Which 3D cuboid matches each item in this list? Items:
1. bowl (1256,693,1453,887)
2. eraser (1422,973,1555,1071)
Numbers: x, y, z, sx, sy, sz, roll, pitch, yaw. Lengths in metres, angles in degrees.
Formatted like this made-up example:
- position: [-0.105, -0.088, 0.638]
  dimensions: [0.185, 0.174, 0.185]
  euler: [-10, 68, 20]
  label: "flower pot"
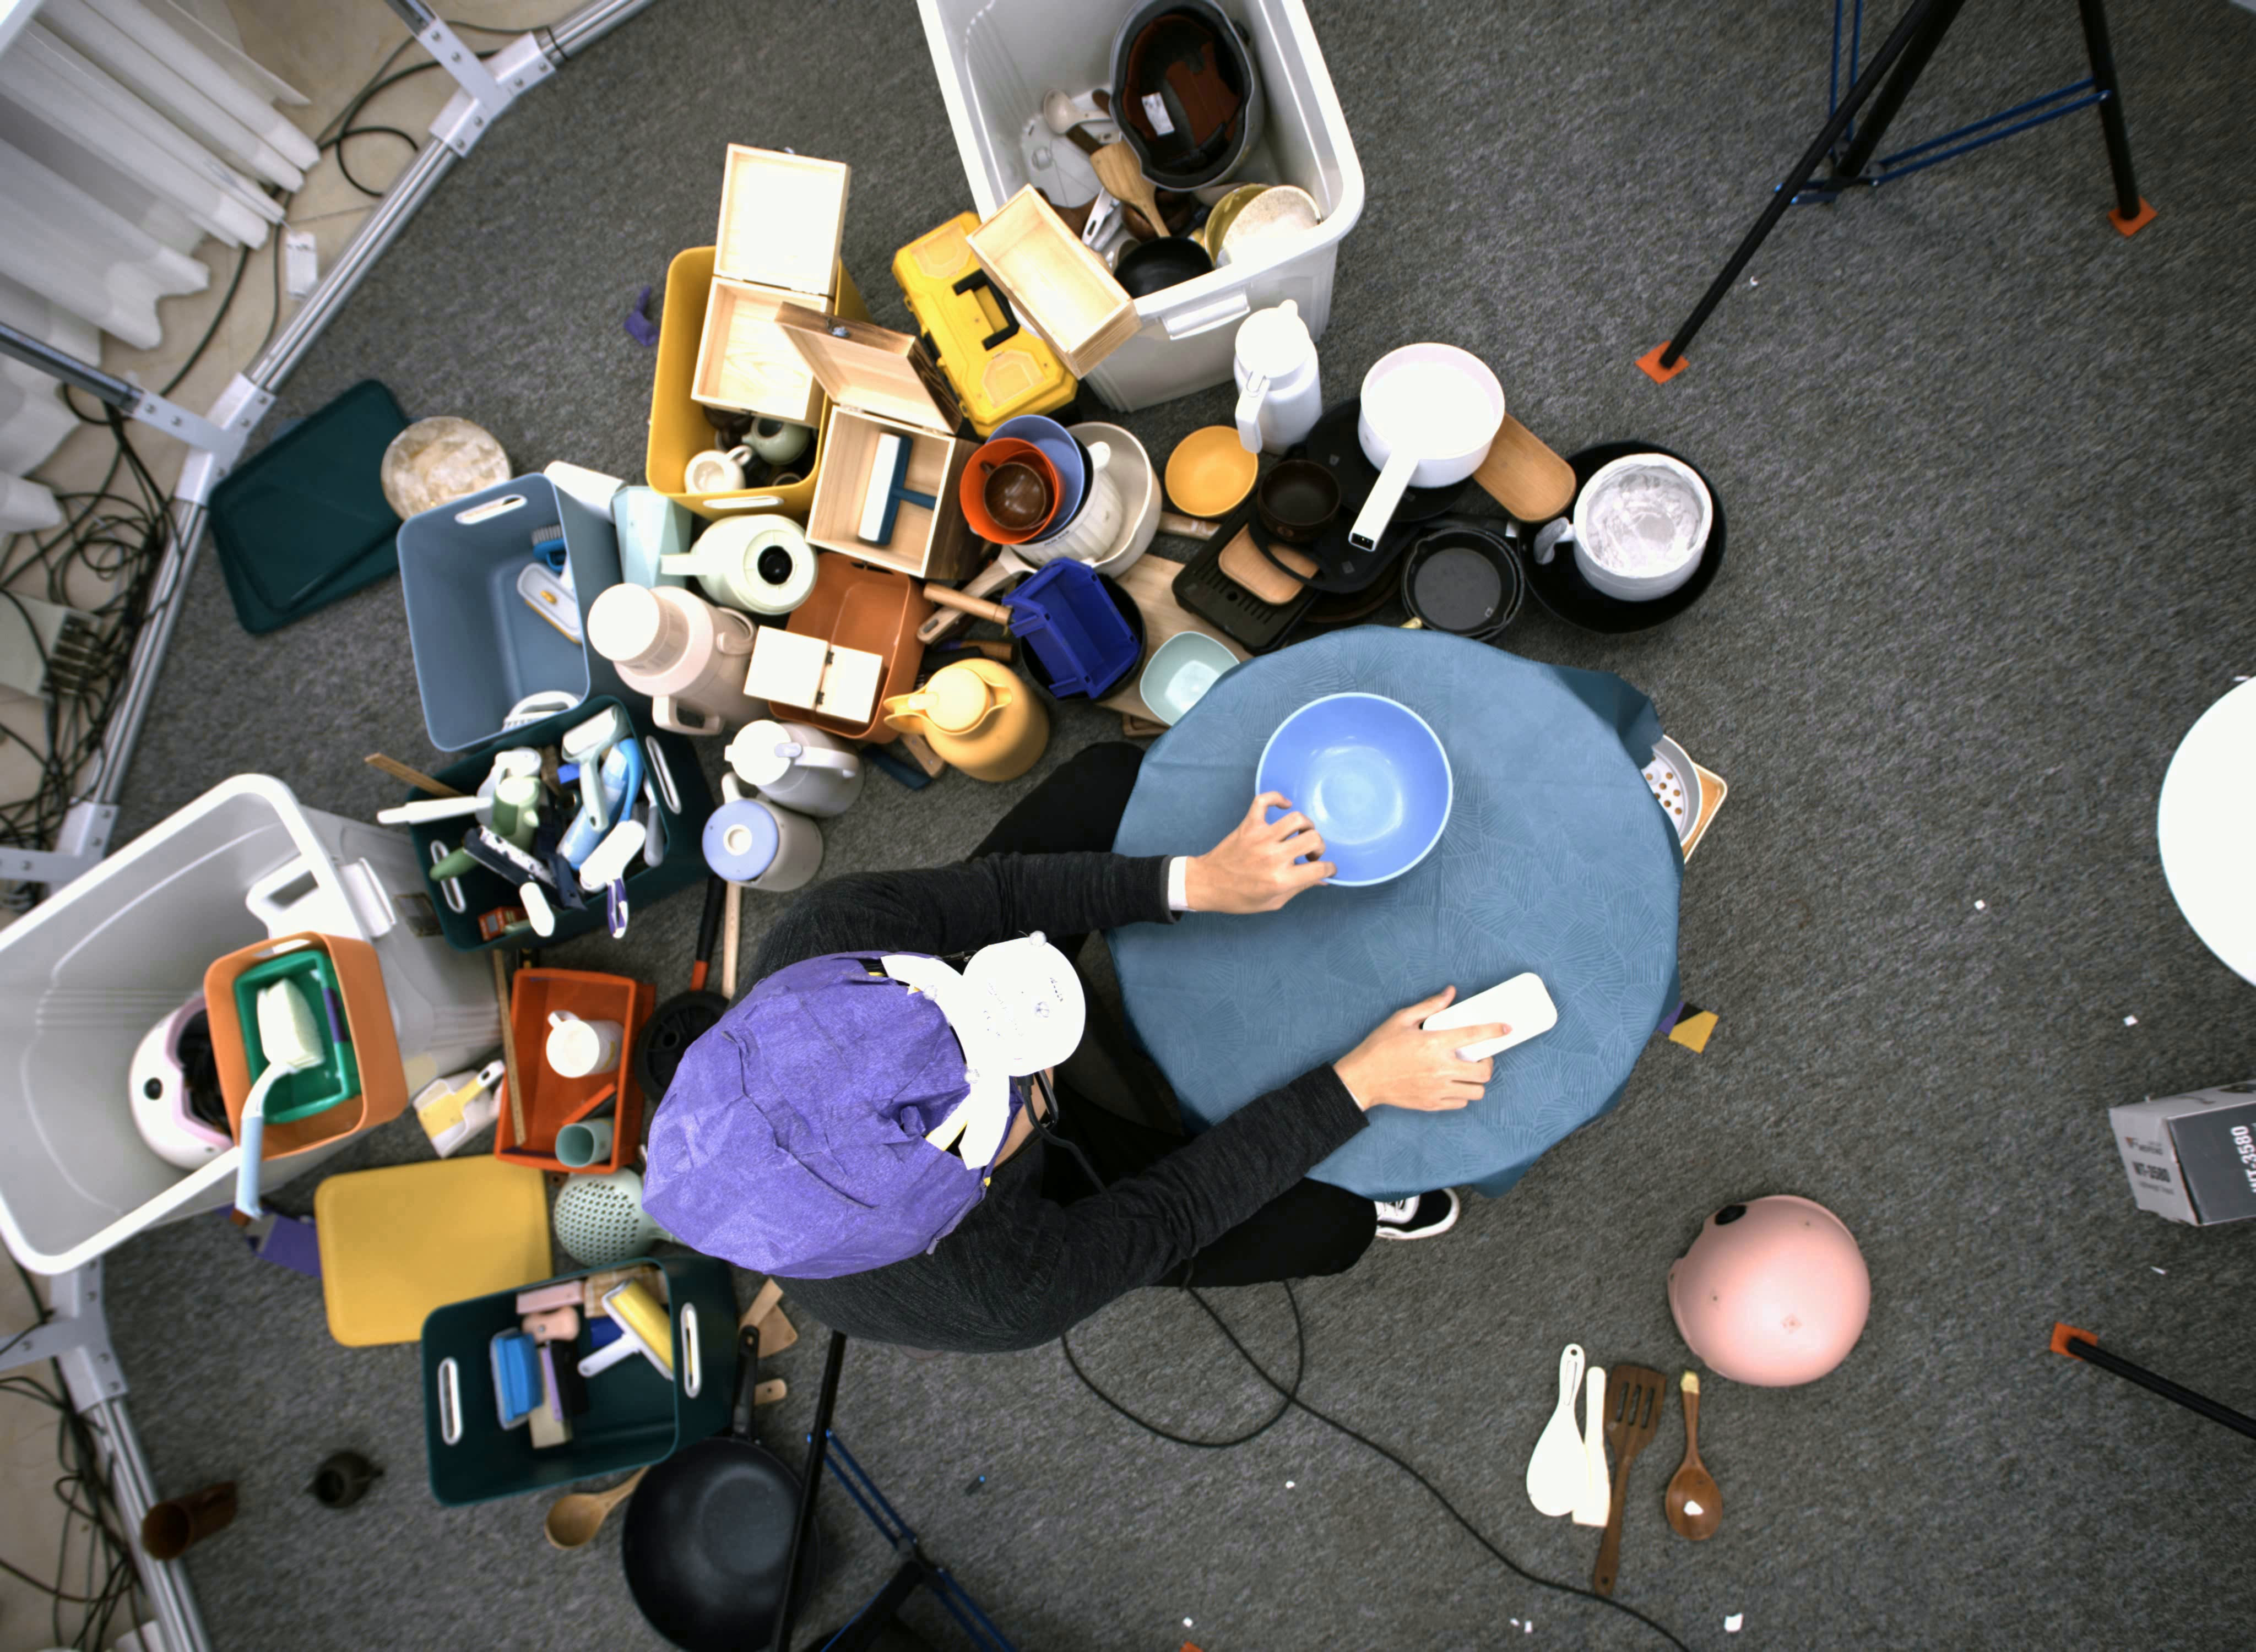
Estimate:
- position: [0.233, -0.034, 1.426]
  dimensions: [0.197, 0.095, 0.196]
  euler: [-1, 87, 10]
  label: "bowl"
- position: [0.369, 0.199, 1.419]
  dimensions: [0.132, 0.034, 0.063]
  euler: [-25, 82, 7]
  label: "eraser"
